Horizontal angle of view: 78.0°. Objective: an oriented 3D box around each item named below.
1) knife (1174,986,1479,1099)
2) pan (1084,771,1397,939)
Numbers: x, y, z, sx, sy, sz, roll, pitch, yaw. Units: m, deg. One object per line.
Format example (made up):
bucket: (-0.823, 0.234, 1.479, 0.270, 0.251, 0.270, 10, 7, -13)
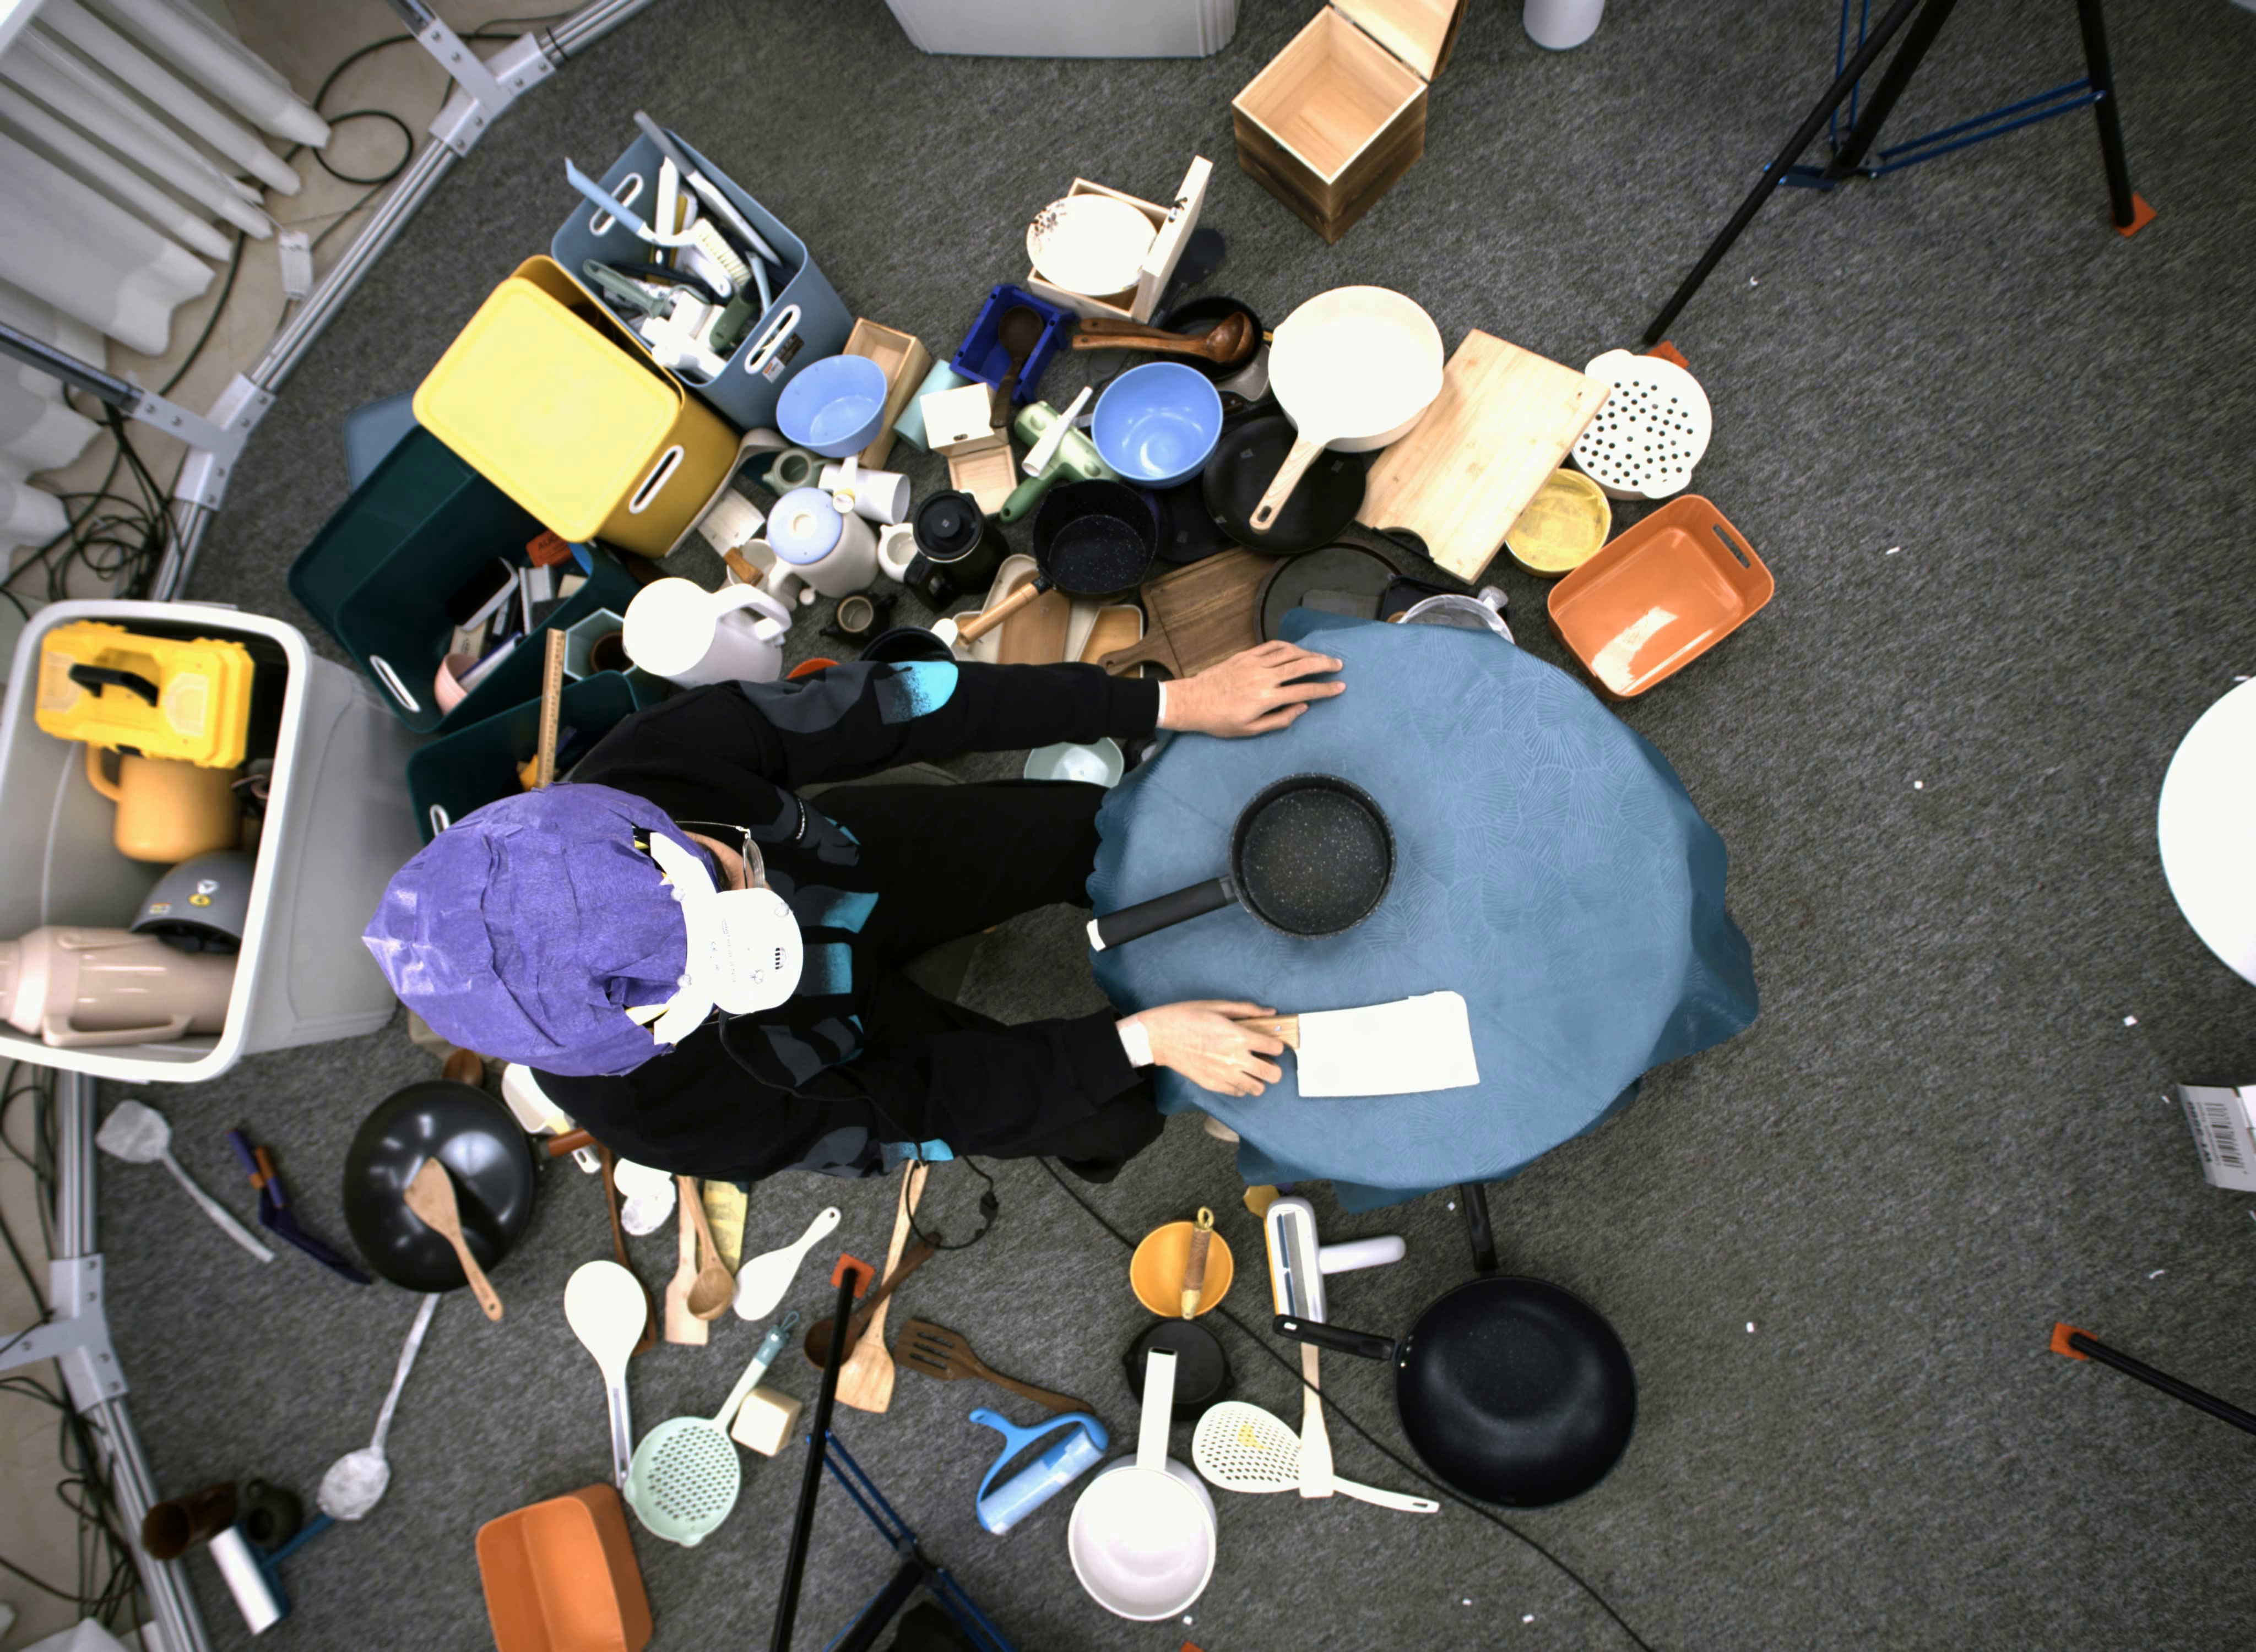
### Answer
knife: (0.206, 0.227, 1.449, 0.316, 0.022, 0.113, -2, 86, 6)
pan: (0.118, 0.057, 1.446, 0.330, 0.086, 0.170, -18, 81, 8)
